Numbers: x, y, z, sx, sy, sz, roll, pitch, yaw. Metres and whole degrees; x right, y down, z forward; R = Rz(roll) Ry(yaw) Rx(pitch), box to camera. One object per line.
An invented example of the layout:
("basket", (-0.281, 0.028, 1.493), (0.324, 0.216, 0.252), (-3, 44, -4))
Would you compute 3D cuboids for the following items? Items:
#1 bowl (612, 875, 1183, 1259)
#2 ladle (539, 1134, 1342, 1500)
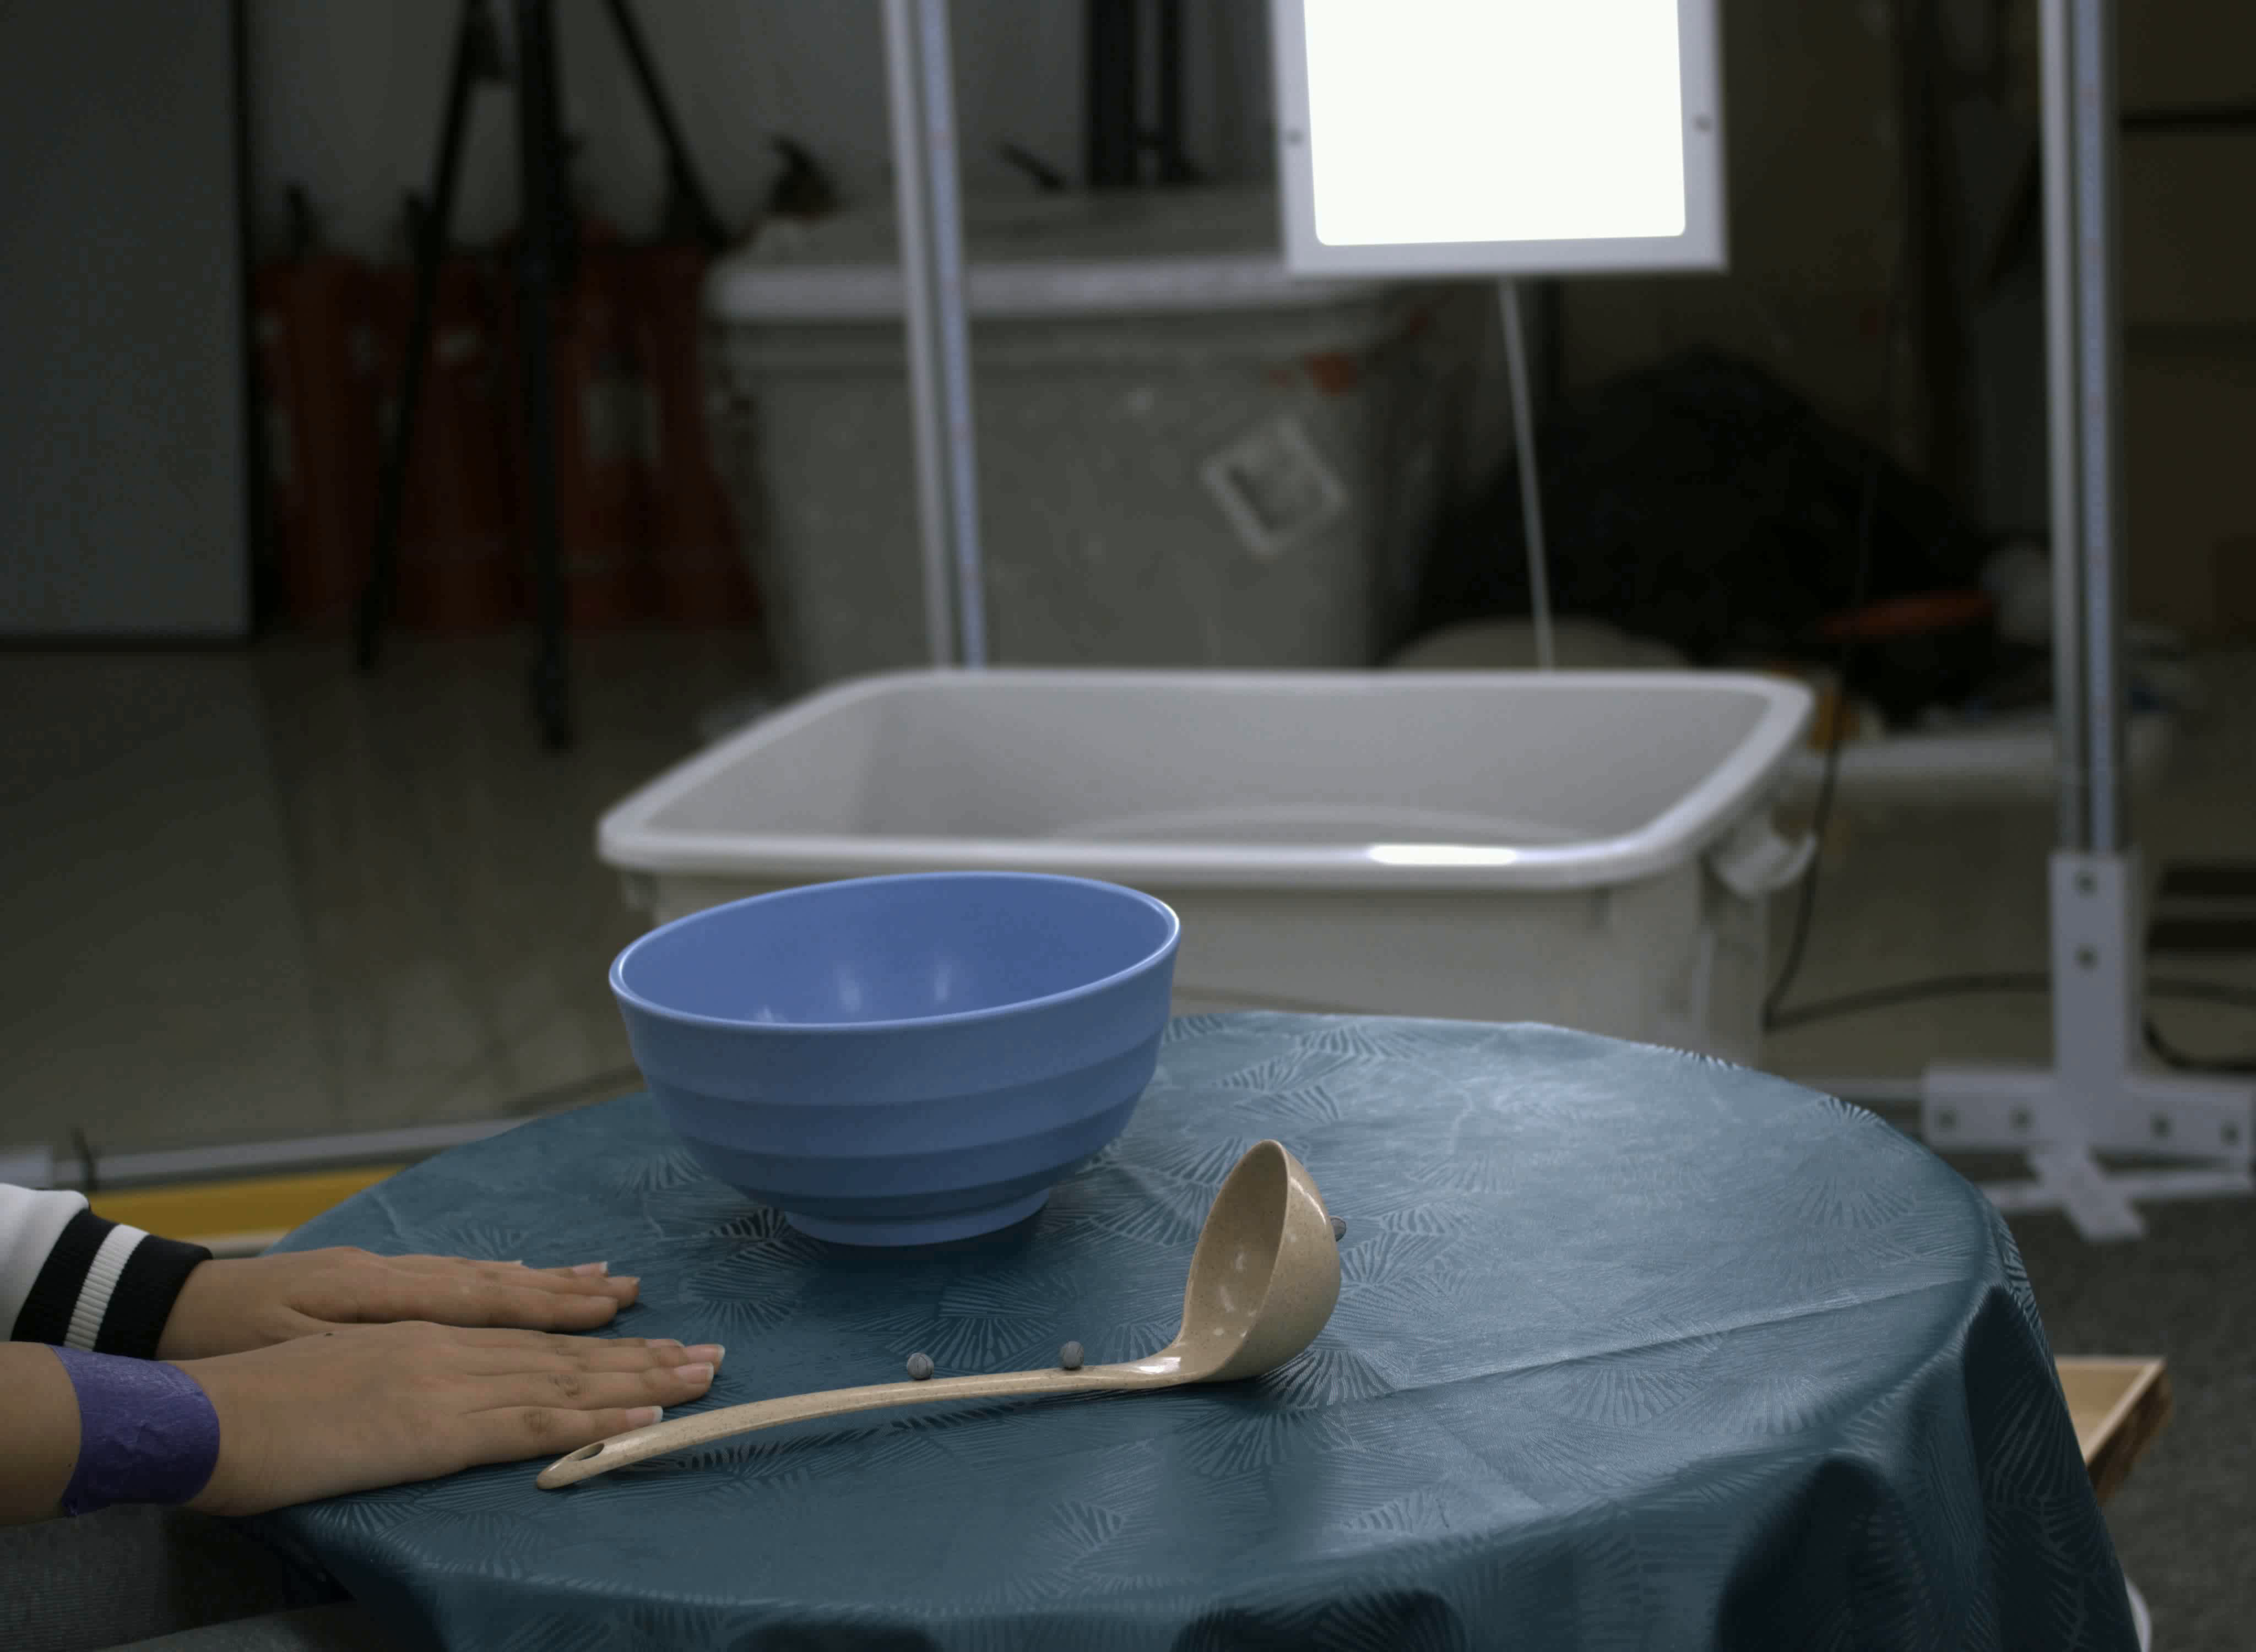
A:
("bowl", (-0.075, 0.089, 1.894), (0.196, 0.096, 0.196), (-5, 15, 0))
("ladle", (-0.059, 0.148, 1.680), (0.251, 0.073, 0.073), (-9, 14, -13))
